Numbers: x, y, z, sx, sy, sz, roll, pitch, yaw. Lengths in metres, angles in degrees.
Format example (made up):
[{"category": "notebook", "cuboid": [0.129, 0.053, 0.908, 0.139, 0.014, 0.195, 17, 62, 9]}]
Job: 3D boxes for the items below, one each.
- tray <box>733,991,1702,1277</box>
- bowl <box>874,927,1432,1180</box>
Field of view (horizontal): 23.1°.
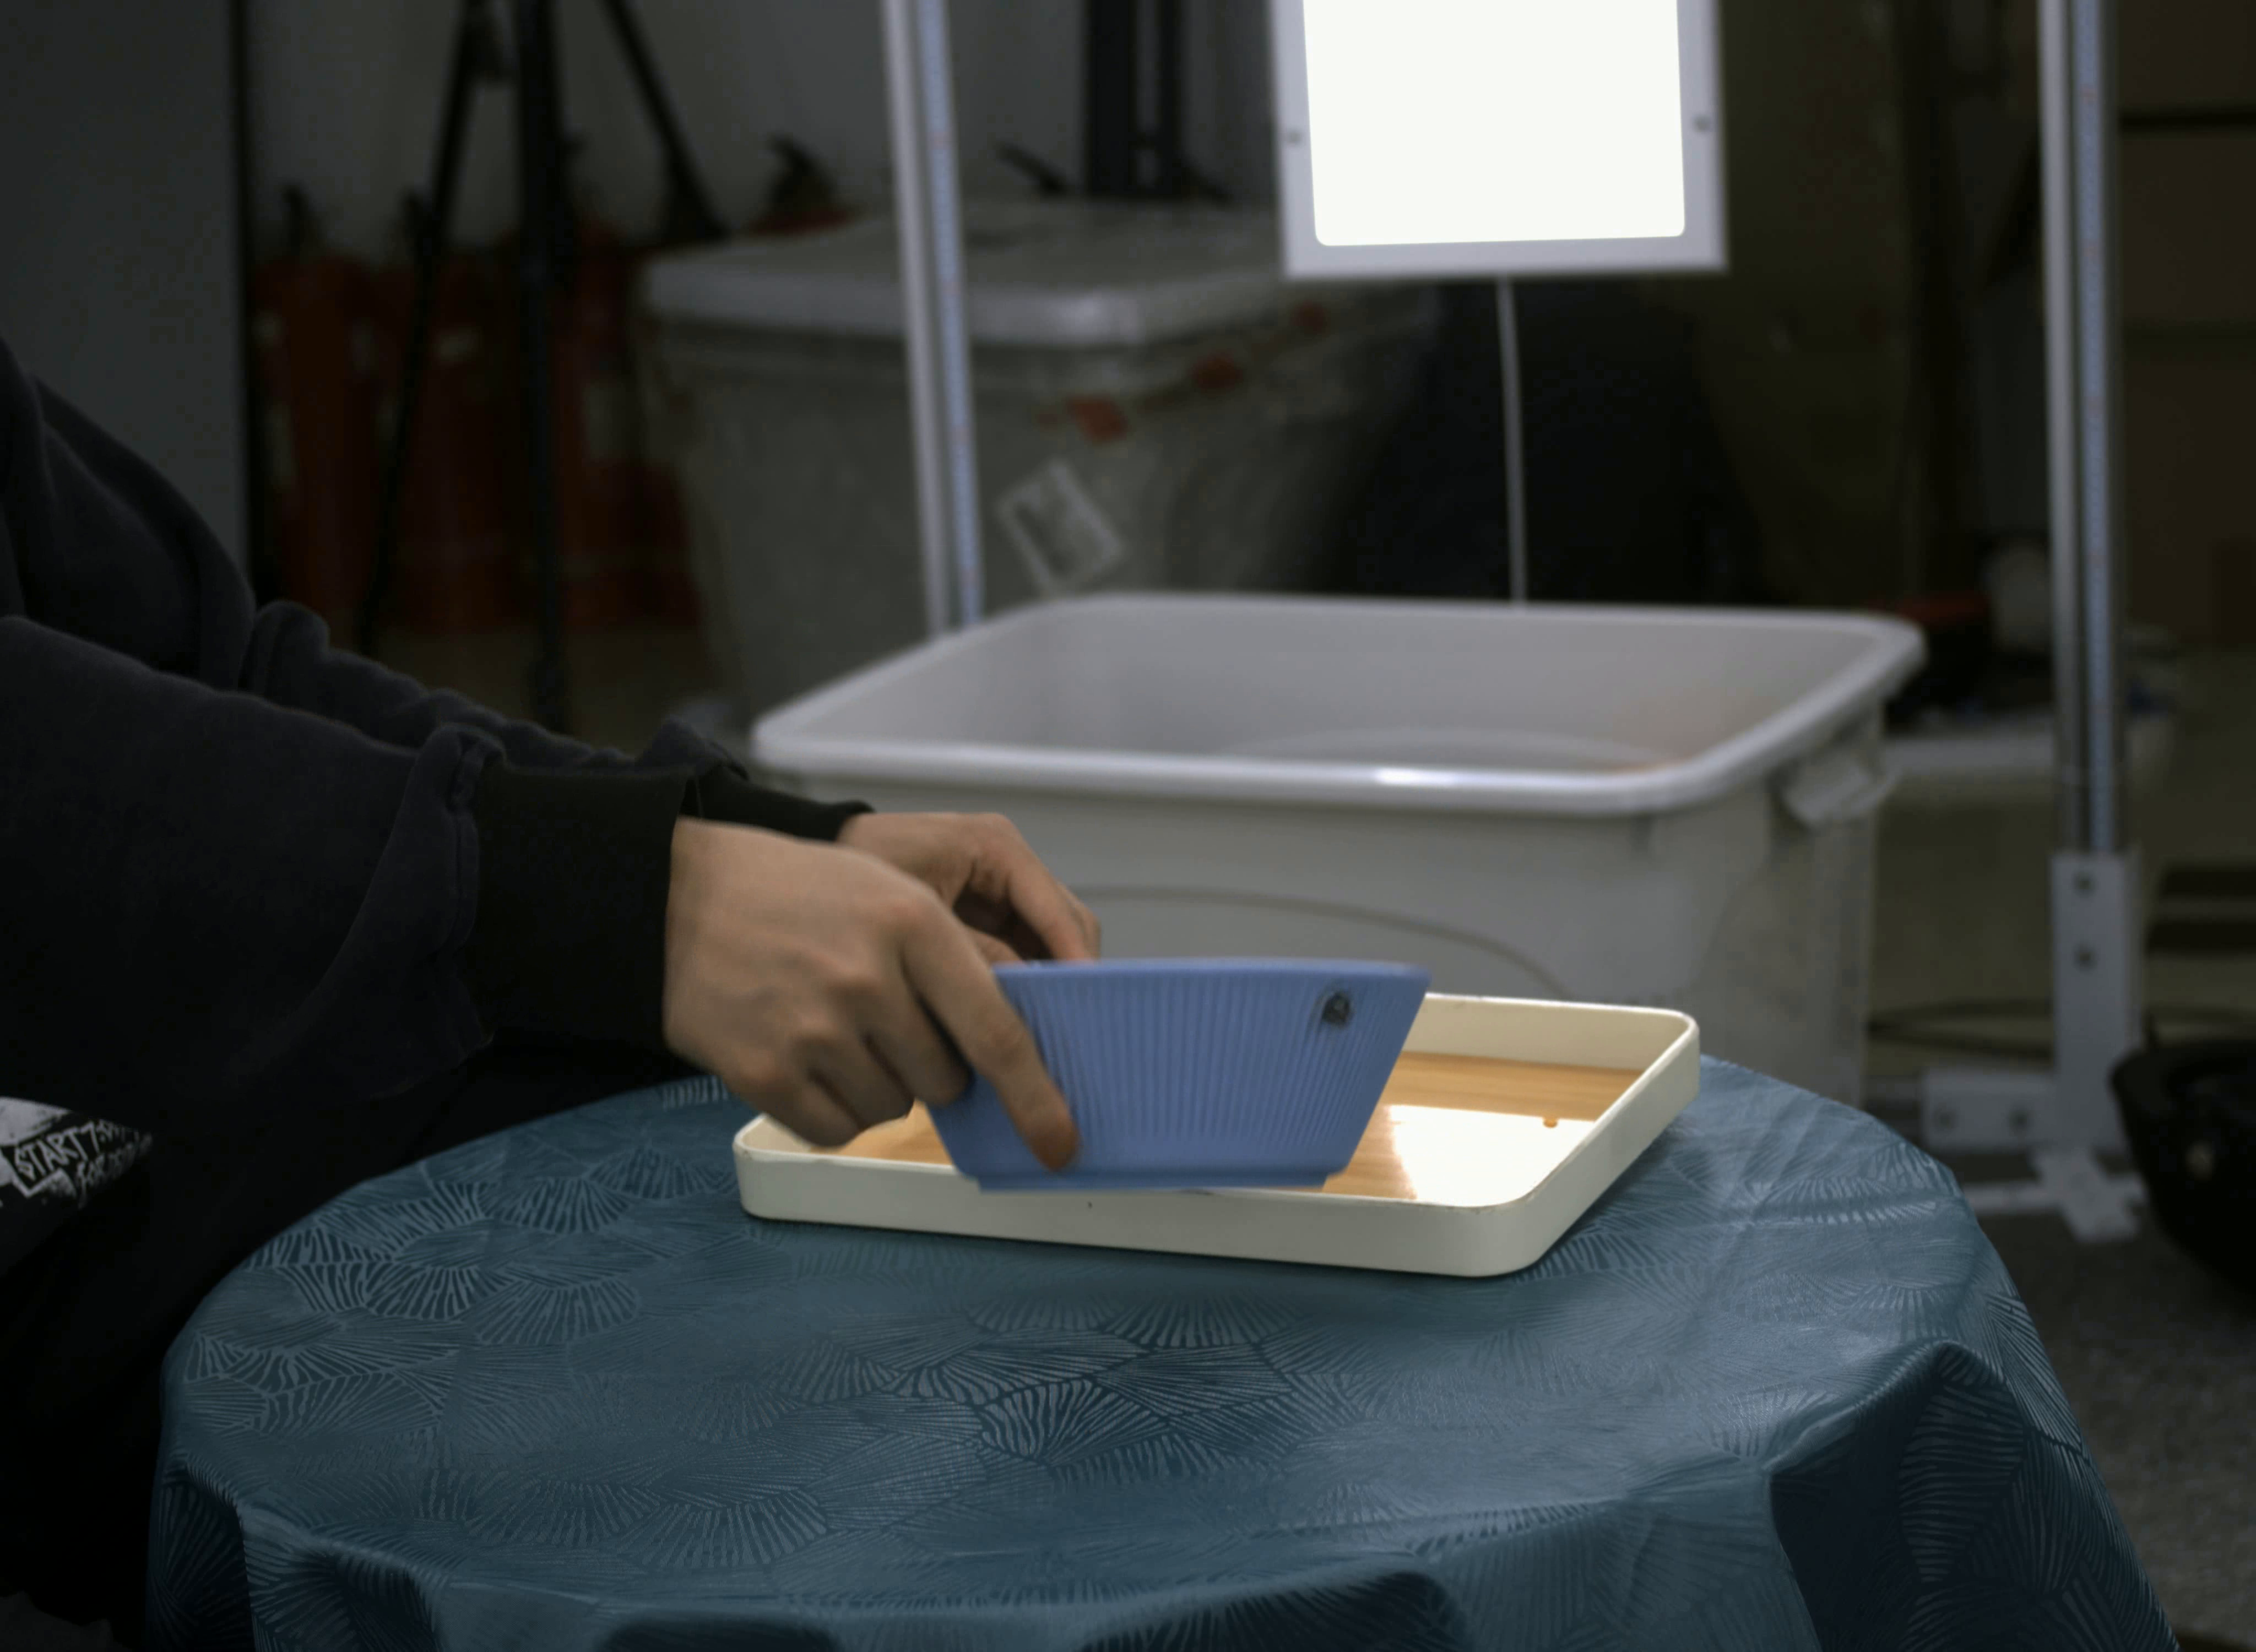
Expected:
[{"category": "tray", "cuboid": [0.032, 0.100, 1.912, 0.305, 0.027, 0.187, 3, 20, 28]}, {"category": "bowl", "cuboid": [0.008, 0.073, 1.710, 0.175, 0.070, 0.176, 0, -6, -1]}]
